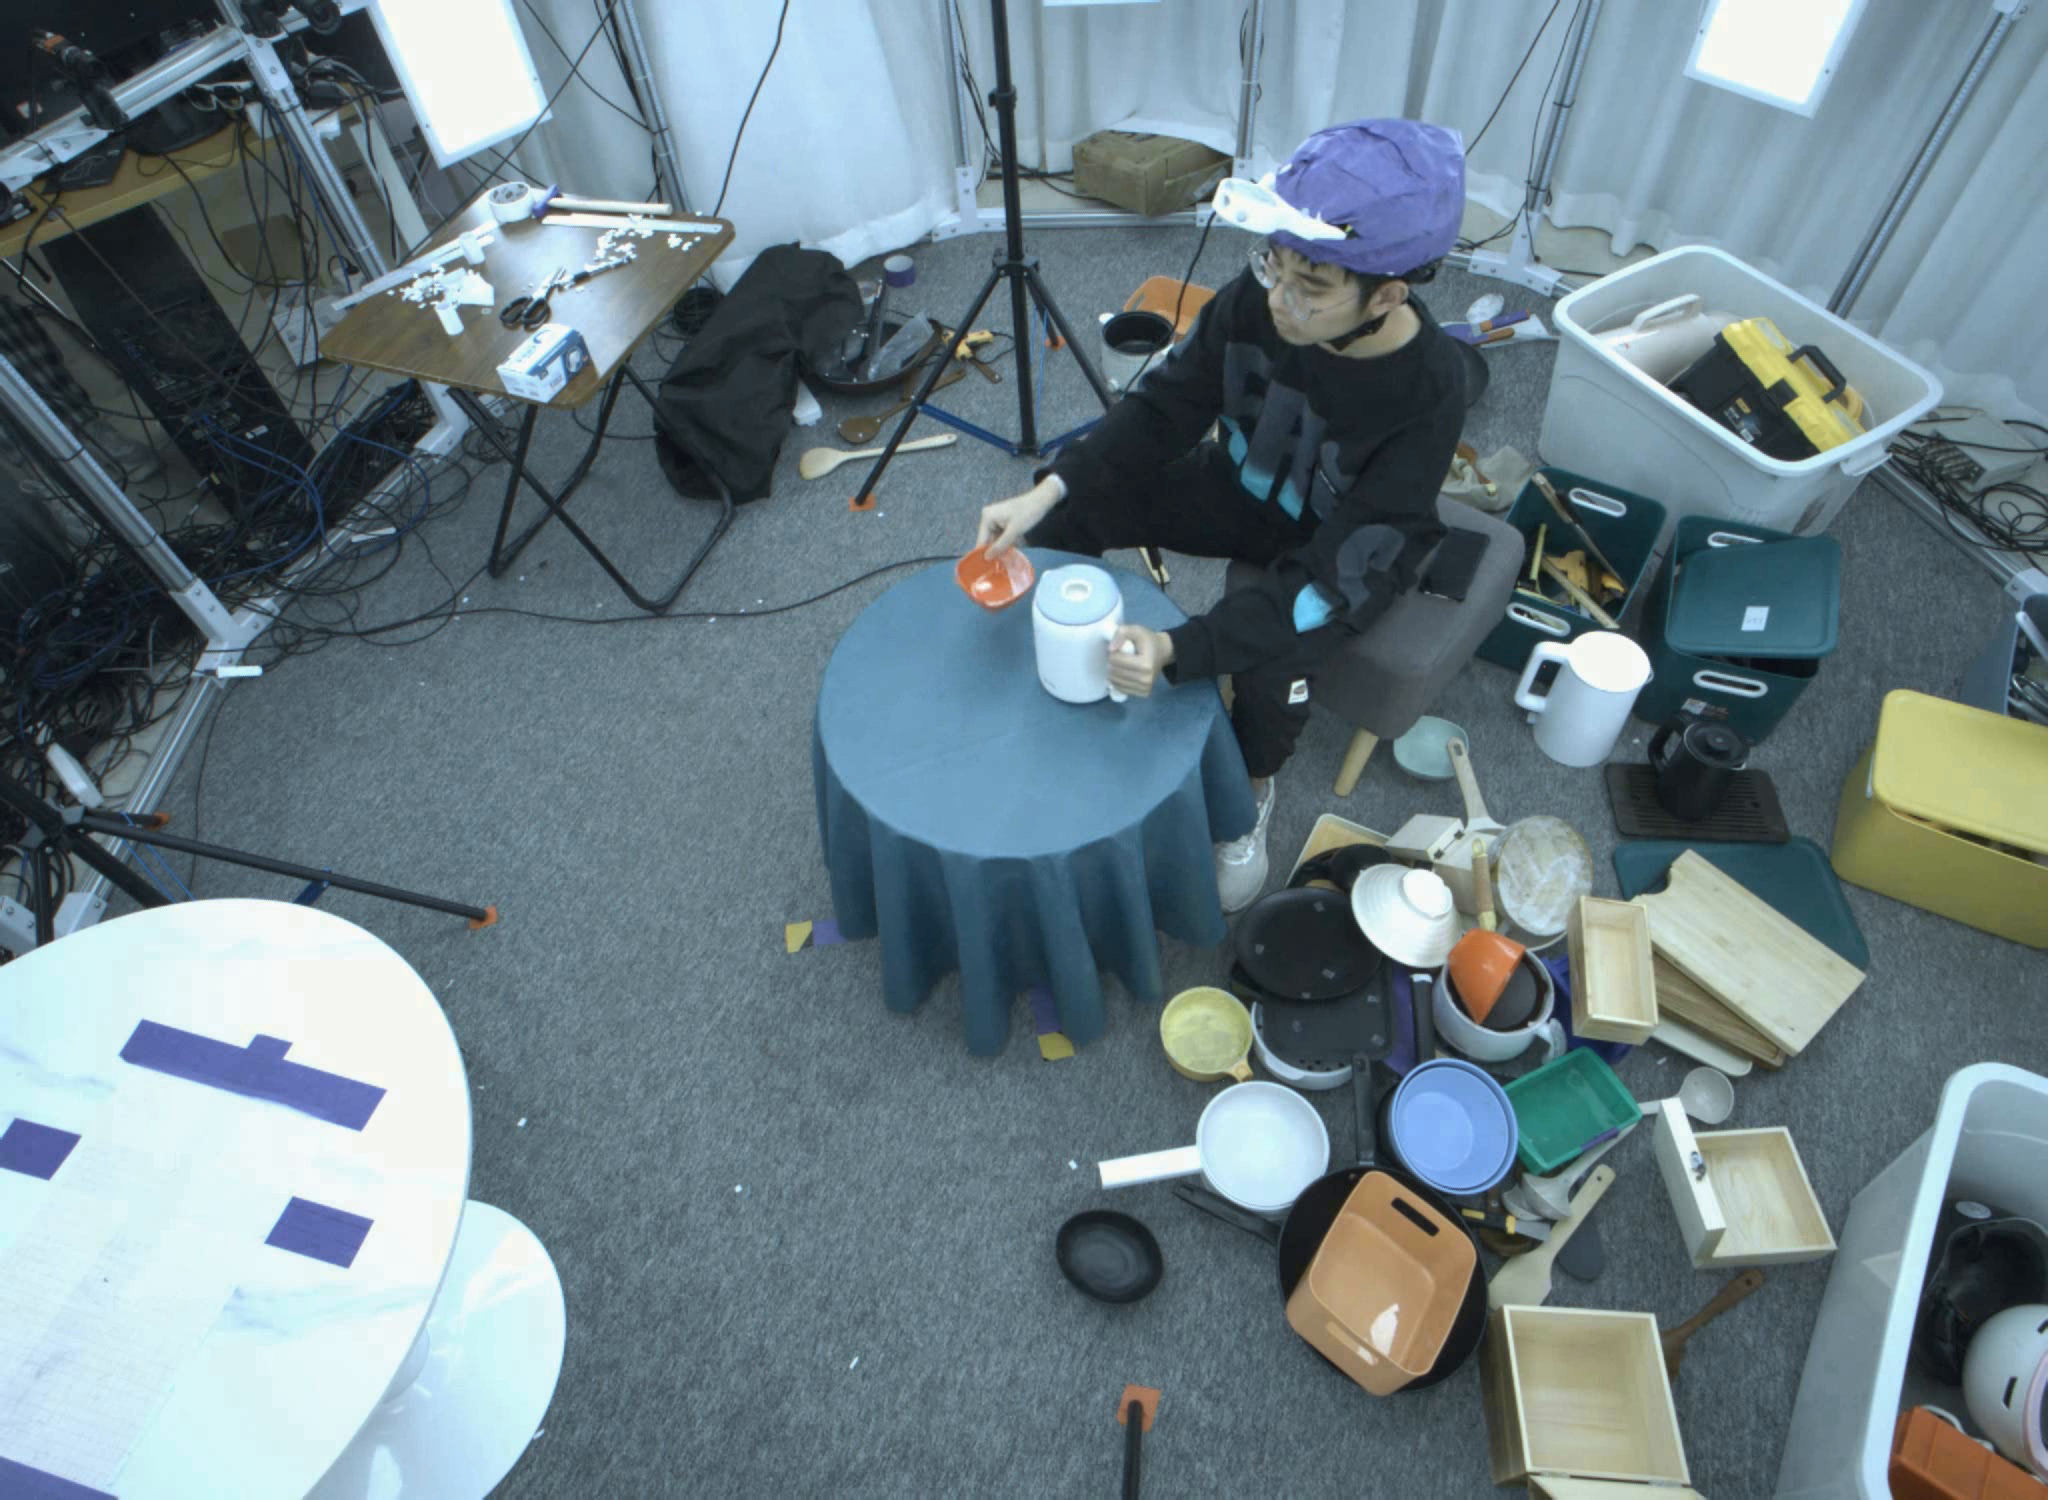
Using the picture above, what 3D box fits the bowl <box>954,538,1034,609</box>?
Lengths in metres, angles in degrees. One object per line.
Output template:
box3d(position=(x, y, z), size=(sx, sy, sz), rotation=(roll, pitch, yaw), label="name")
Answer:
box3d(position=(-0.045, -0.255, 1.826), size=(0.119, 0.052, 0.118), rotation=(2, 60, -1), label="bowl")

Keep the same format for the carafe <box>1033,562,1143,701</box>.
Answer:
box3d(position=(0.098, -0.158, 1.780), size=(0.133, 0.184, 0.187), rotation=(-40, 62, -21), label="carafe")
